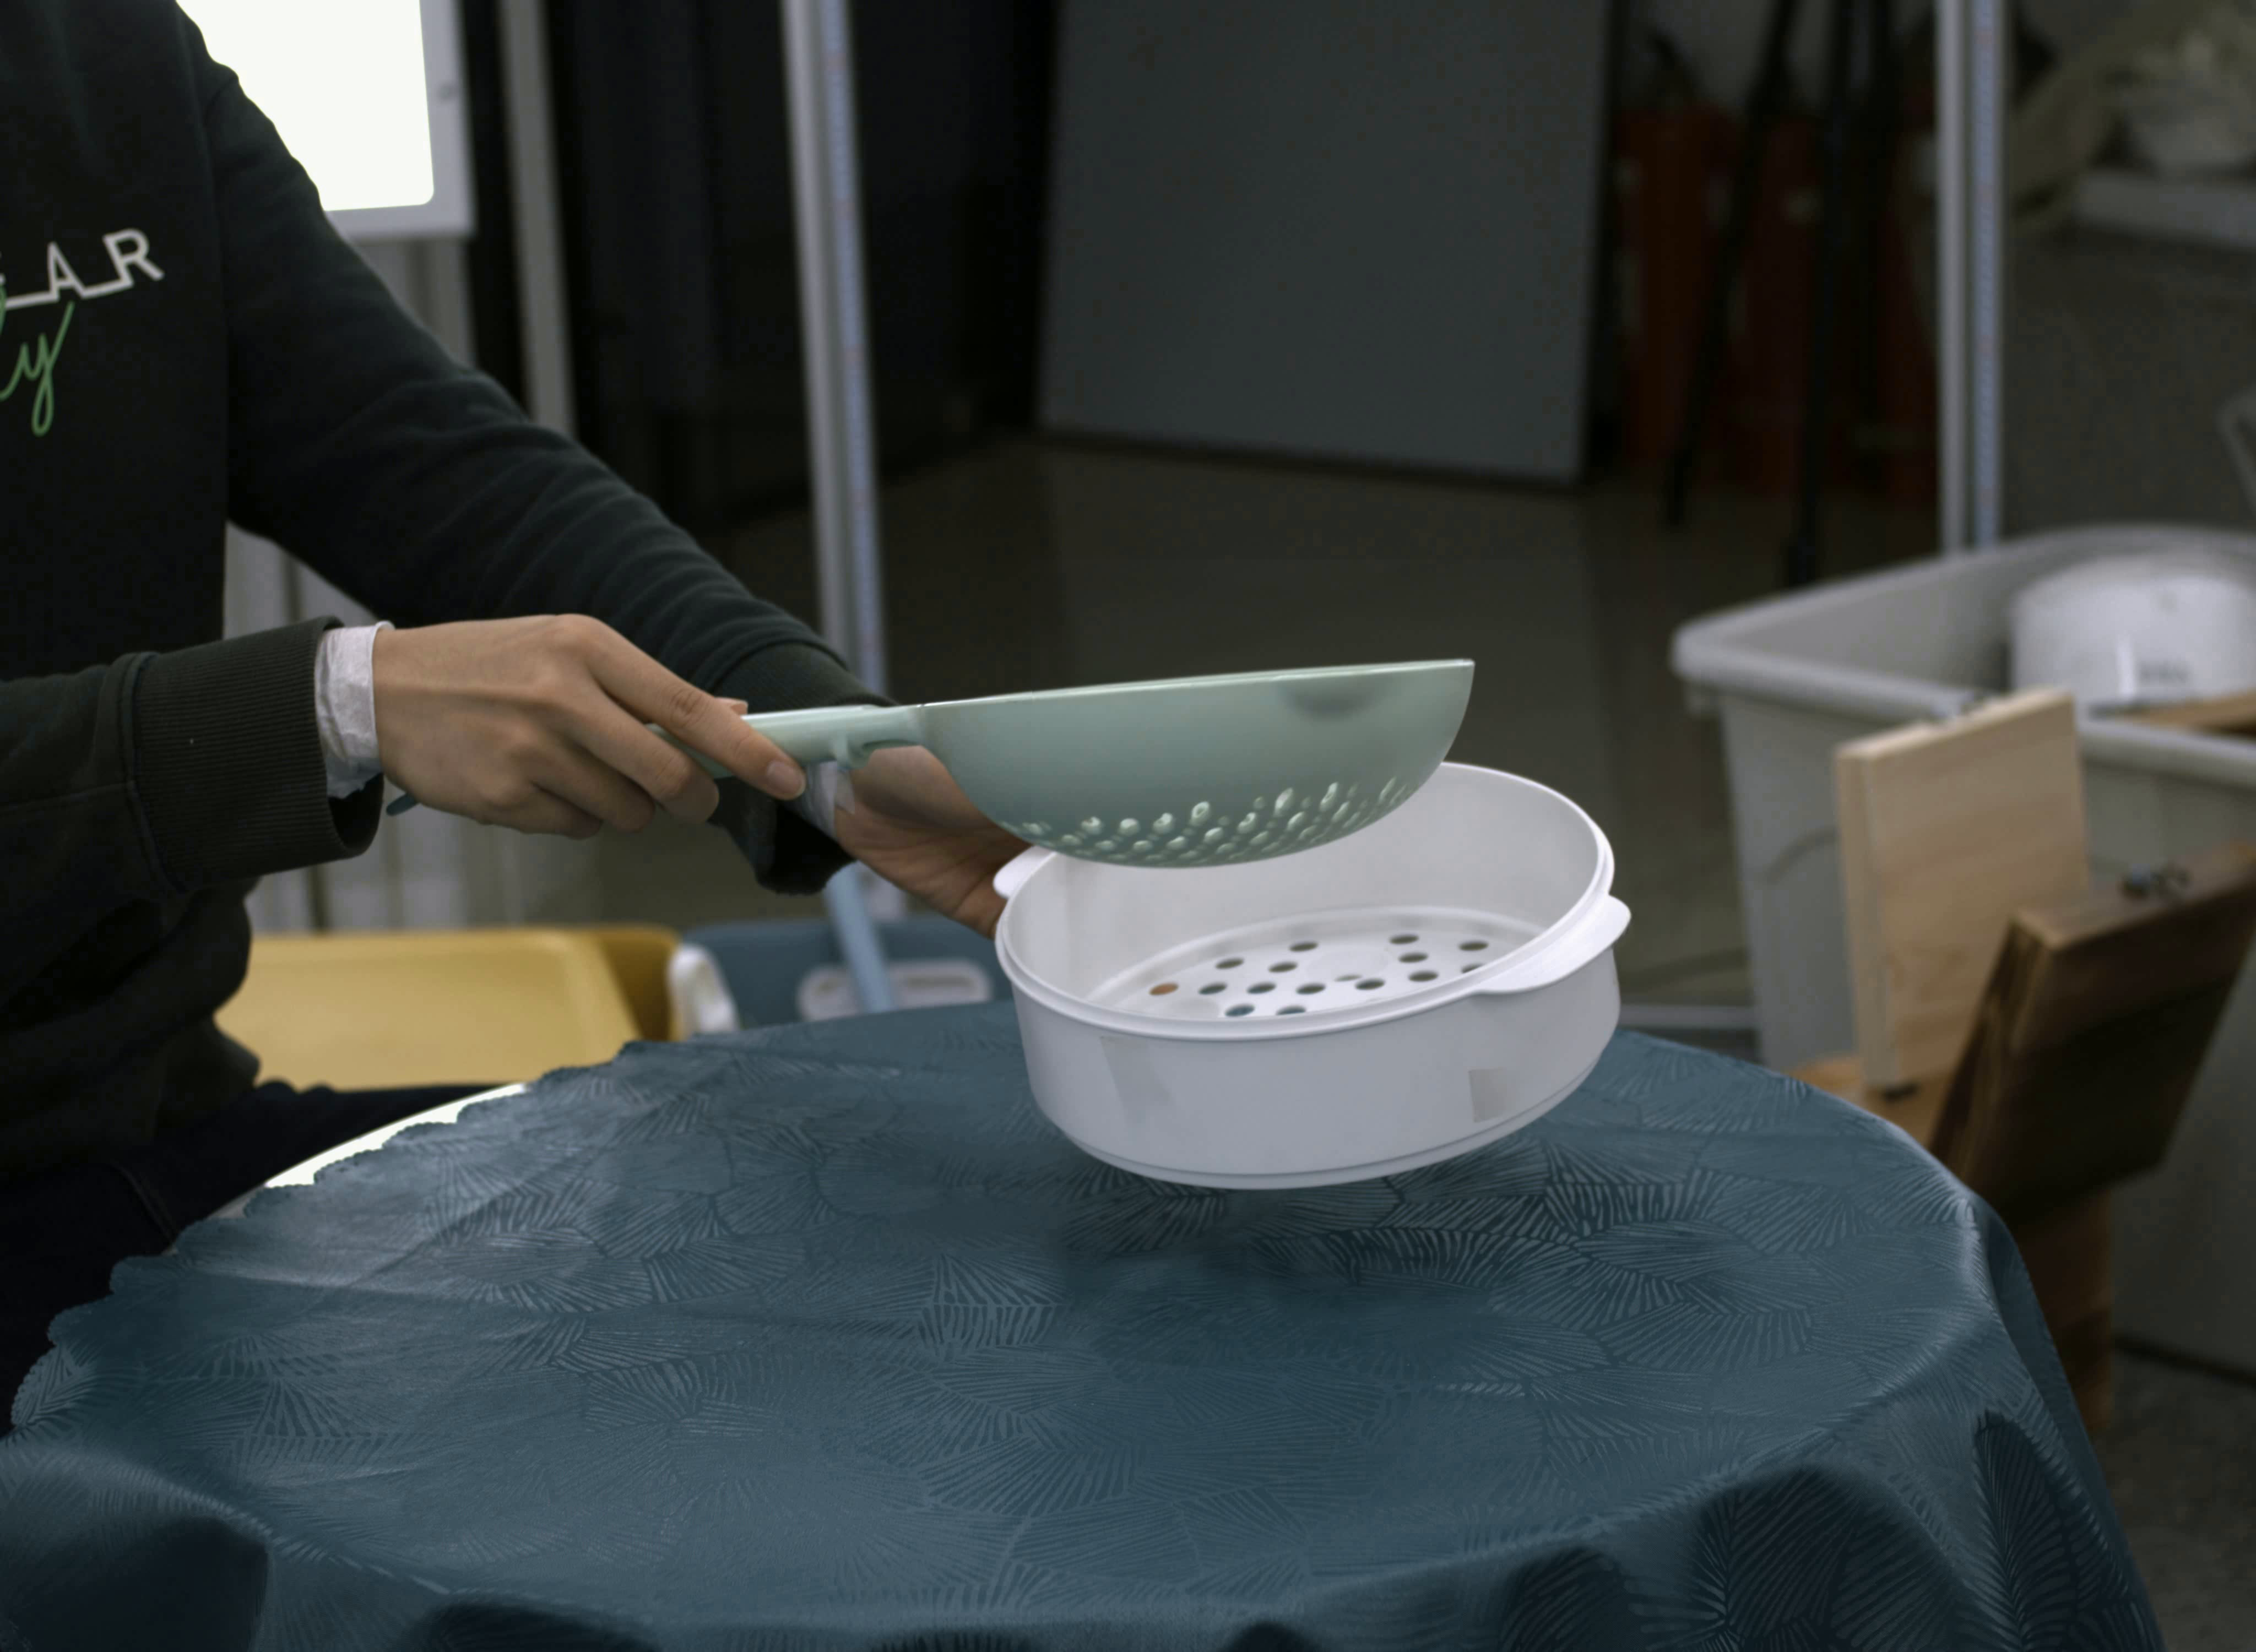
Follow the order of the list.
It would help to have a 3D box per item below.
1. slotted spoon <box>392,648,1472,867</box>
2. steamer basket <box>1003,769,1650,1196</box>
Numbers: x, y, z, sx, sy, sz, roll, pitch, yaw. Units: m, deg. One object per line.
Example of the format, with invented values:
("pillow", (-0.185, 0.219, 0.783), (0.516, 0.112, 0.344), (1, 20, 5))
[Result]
("slotted spoon", (-0.068, -0.027, 1.681), (0.358, 0.076, 0.167), (4, 3, 20))
("steamer basket", (0.064, 0.050, 1.726), (0.232, 0.070, 0.199), (8, 28, 38))
